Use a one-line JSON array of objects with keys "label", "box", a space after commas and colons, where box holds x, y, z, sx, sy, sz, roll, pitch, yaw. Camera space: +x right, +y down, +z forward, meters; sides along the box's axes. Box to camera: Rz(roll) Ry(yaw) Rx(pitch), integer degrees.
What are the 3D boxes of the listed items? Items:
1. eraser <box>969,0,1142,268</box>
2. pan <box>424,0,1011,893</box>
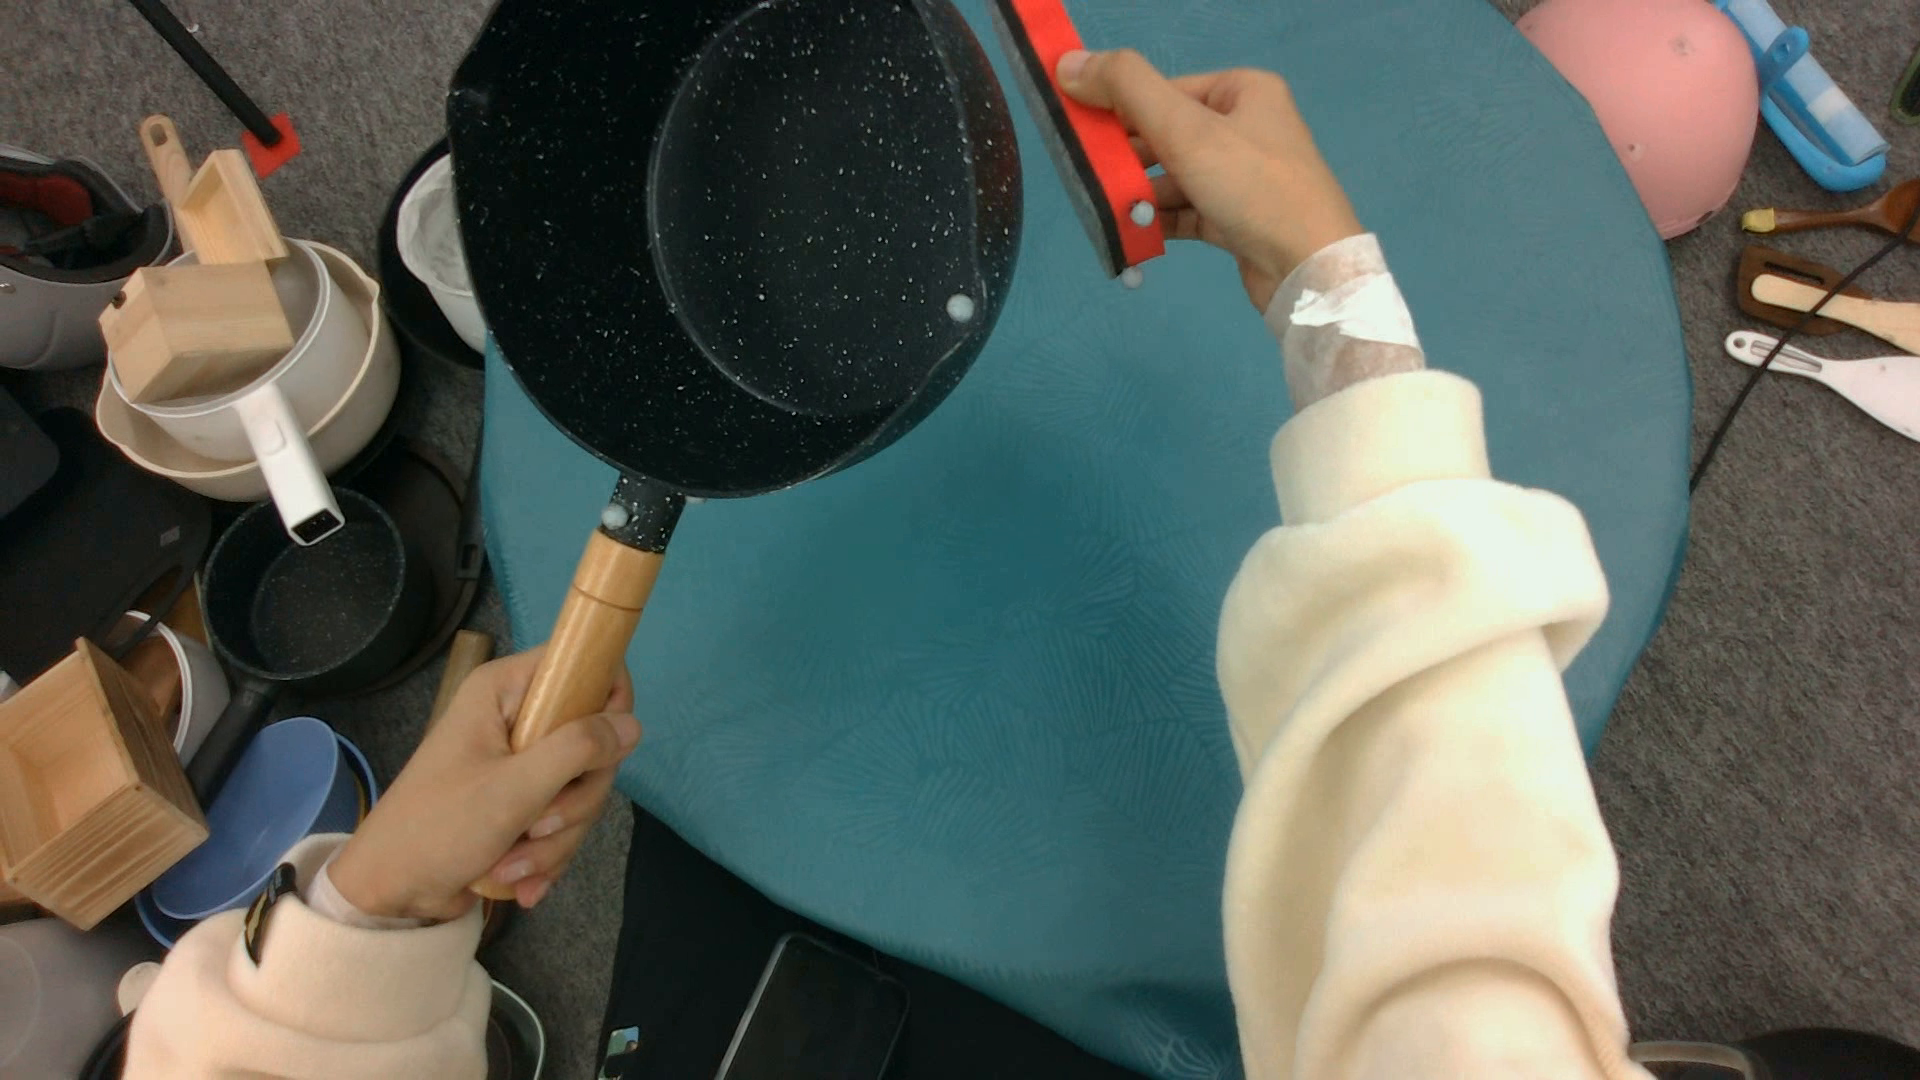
[{"label": "eraser", "box": [0.034, -0.156, 0.499, 0.023, 0.059, 0.108, -24, 72, 4]}, {"label": "pan", "box": [-0.097, -0.040, 0.470, 0.207, 0.108, 0.342, 23, 106, 16]}]
